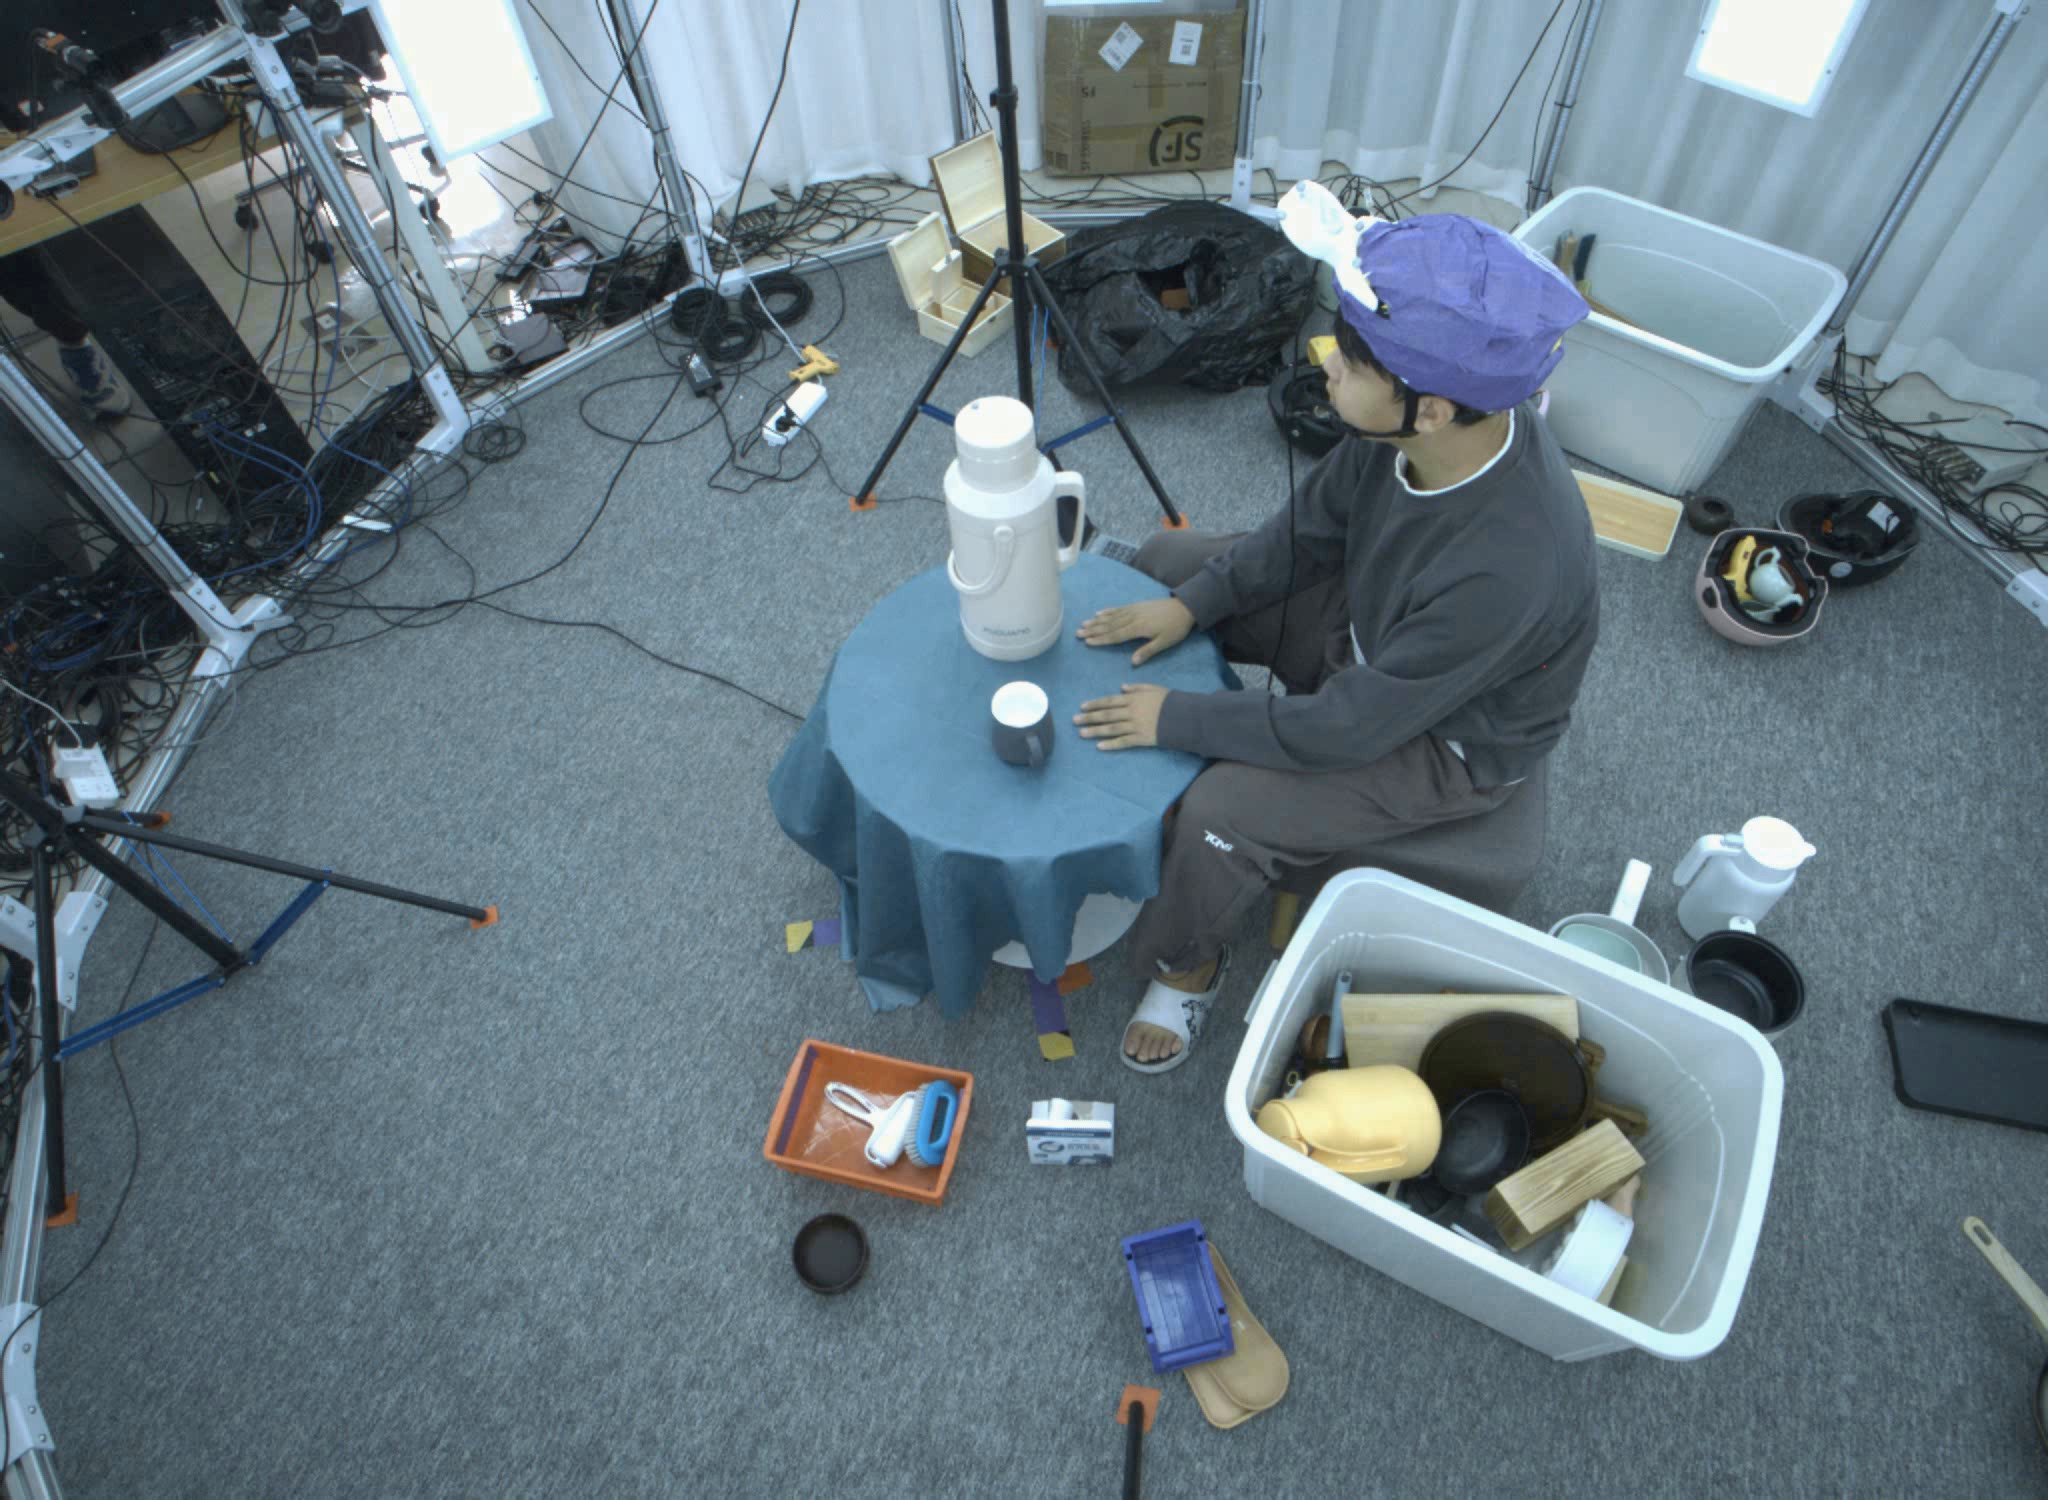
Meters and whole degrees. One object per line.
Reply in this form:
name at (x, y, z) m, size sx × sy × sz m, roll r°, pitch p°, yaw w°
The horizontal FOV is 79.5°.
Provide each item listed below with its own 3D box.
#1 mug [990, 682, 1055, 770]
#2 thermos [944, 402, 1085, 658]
mug at (0.001, -0.027, 1.751) m, size 0.094 × 0.091 × 0.121 m, roll -16°, pitch 55°, yaw -9°
thermos at (-0.015, -0.318, 1.768) m, size 0.207 × 0.411 × 0.173 m, roll -6°, pitch 54°, yaw -1°
